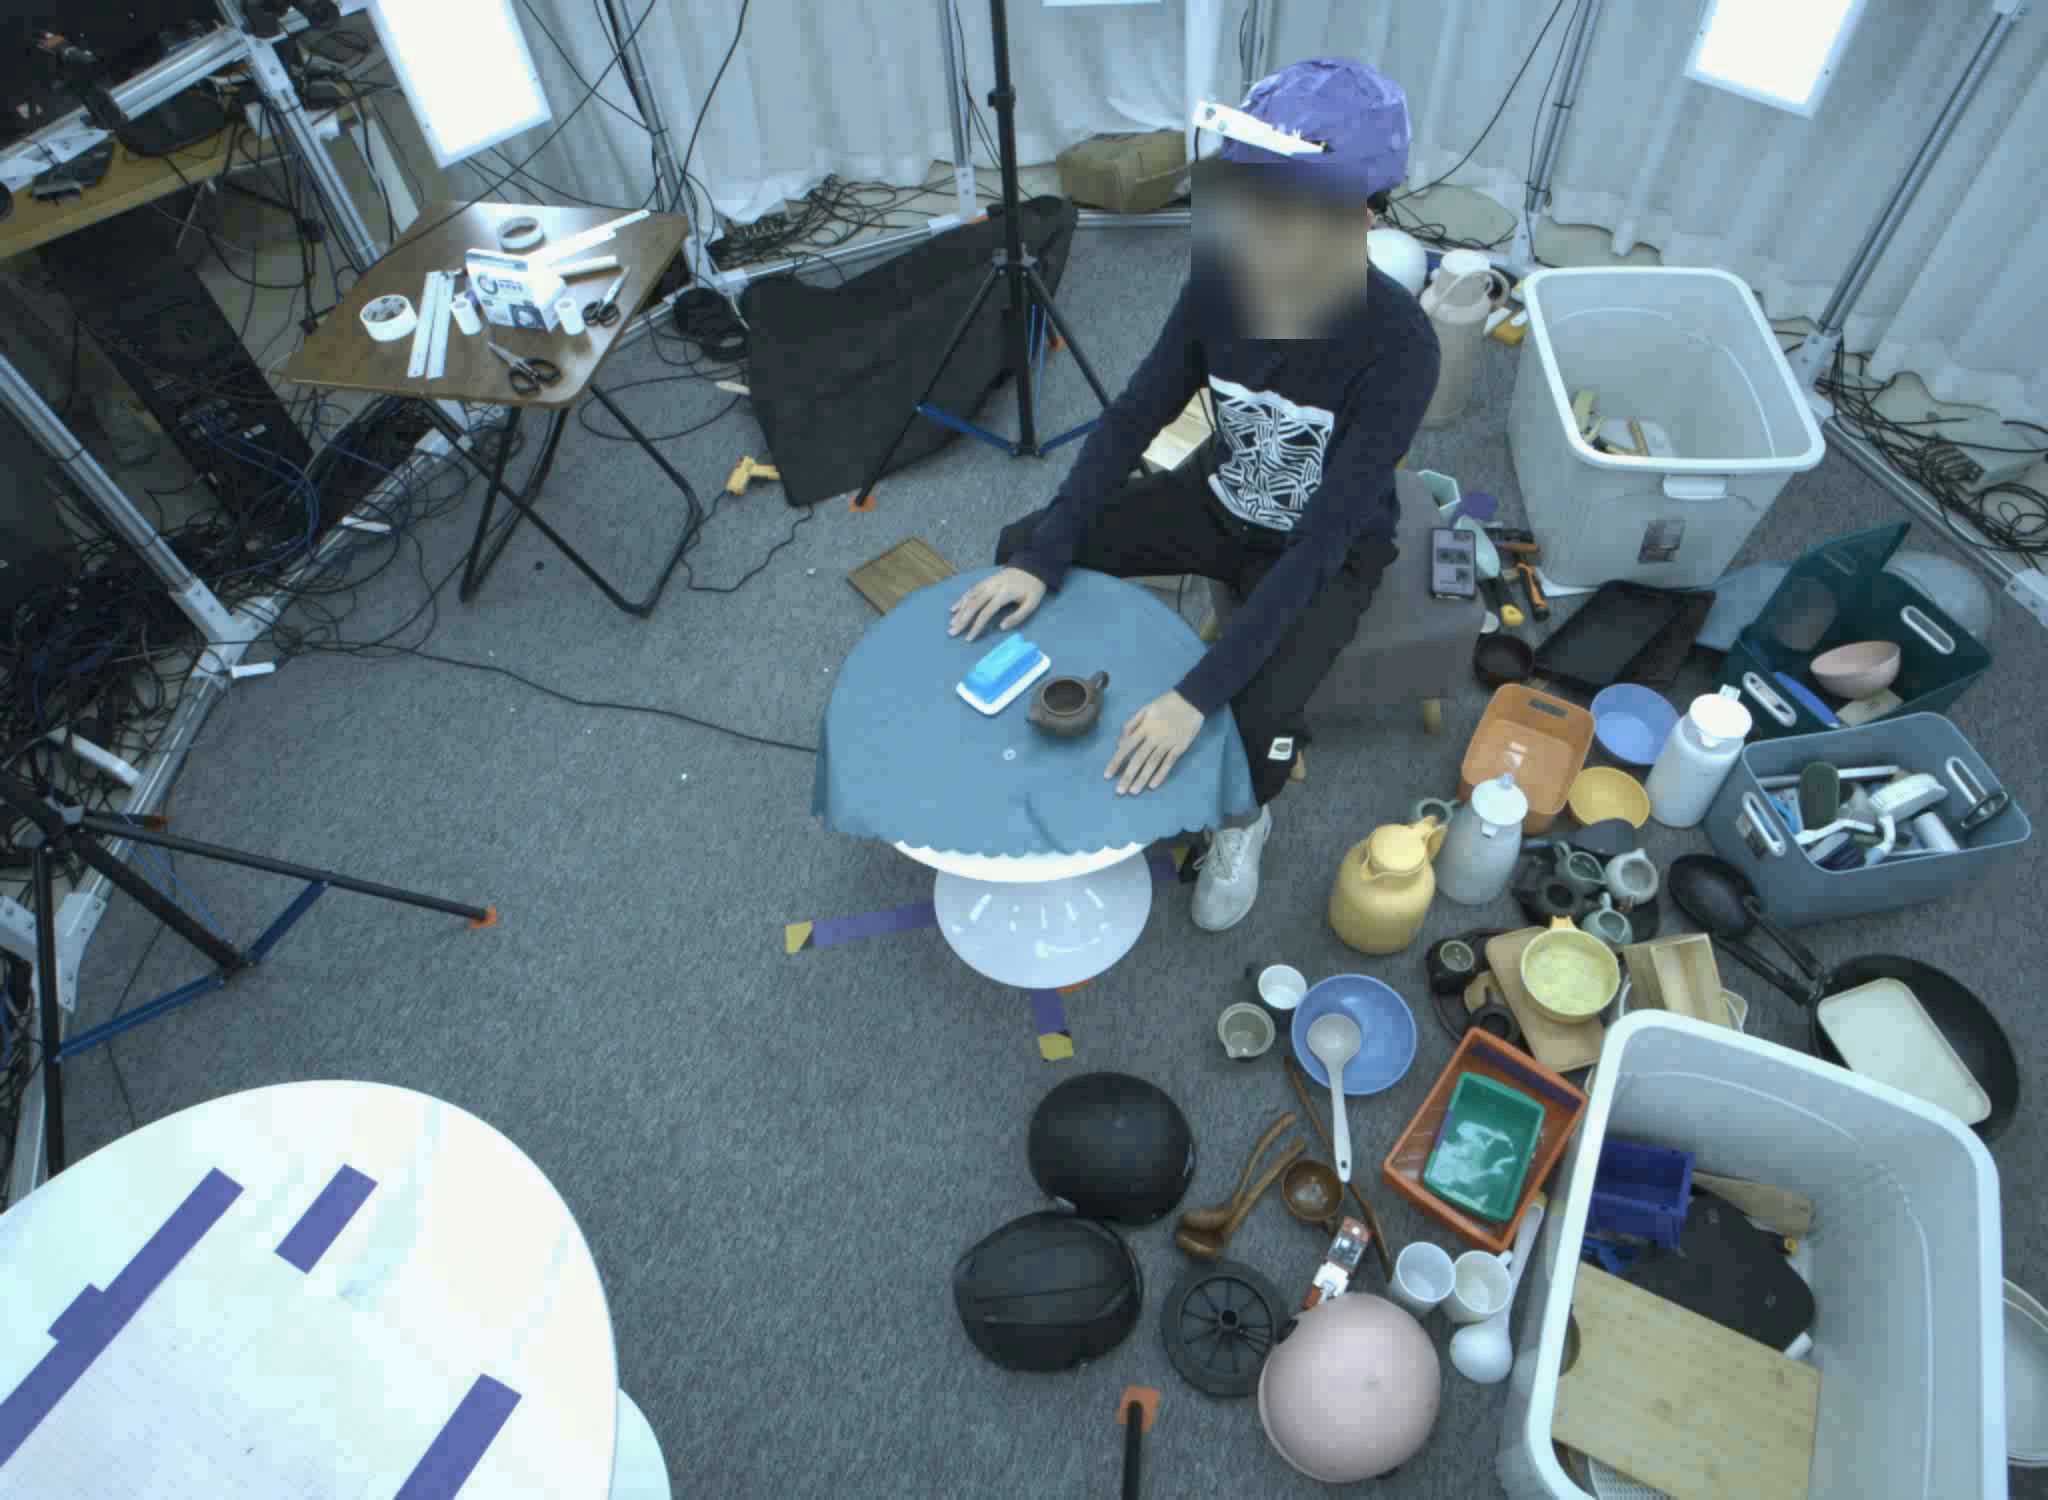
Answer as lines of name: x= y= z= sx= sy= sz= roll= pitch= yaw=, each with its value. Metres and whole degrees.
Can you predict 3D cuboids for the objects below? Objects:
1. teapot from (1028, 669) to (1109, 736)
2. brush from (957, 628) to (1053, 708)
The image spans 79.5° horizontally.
teapot: x=0.065 y=-0.069 z=1.794 sx=0.154 sy=0.054 sz=0.101 roll=-40 pitch=64 yaw=-23
brush: x=-0.029 y=-0.131 z=1.837 sx=0.145 sy=0.056 sz=0.082 roll=-41 pitch=65 yaw=-21
